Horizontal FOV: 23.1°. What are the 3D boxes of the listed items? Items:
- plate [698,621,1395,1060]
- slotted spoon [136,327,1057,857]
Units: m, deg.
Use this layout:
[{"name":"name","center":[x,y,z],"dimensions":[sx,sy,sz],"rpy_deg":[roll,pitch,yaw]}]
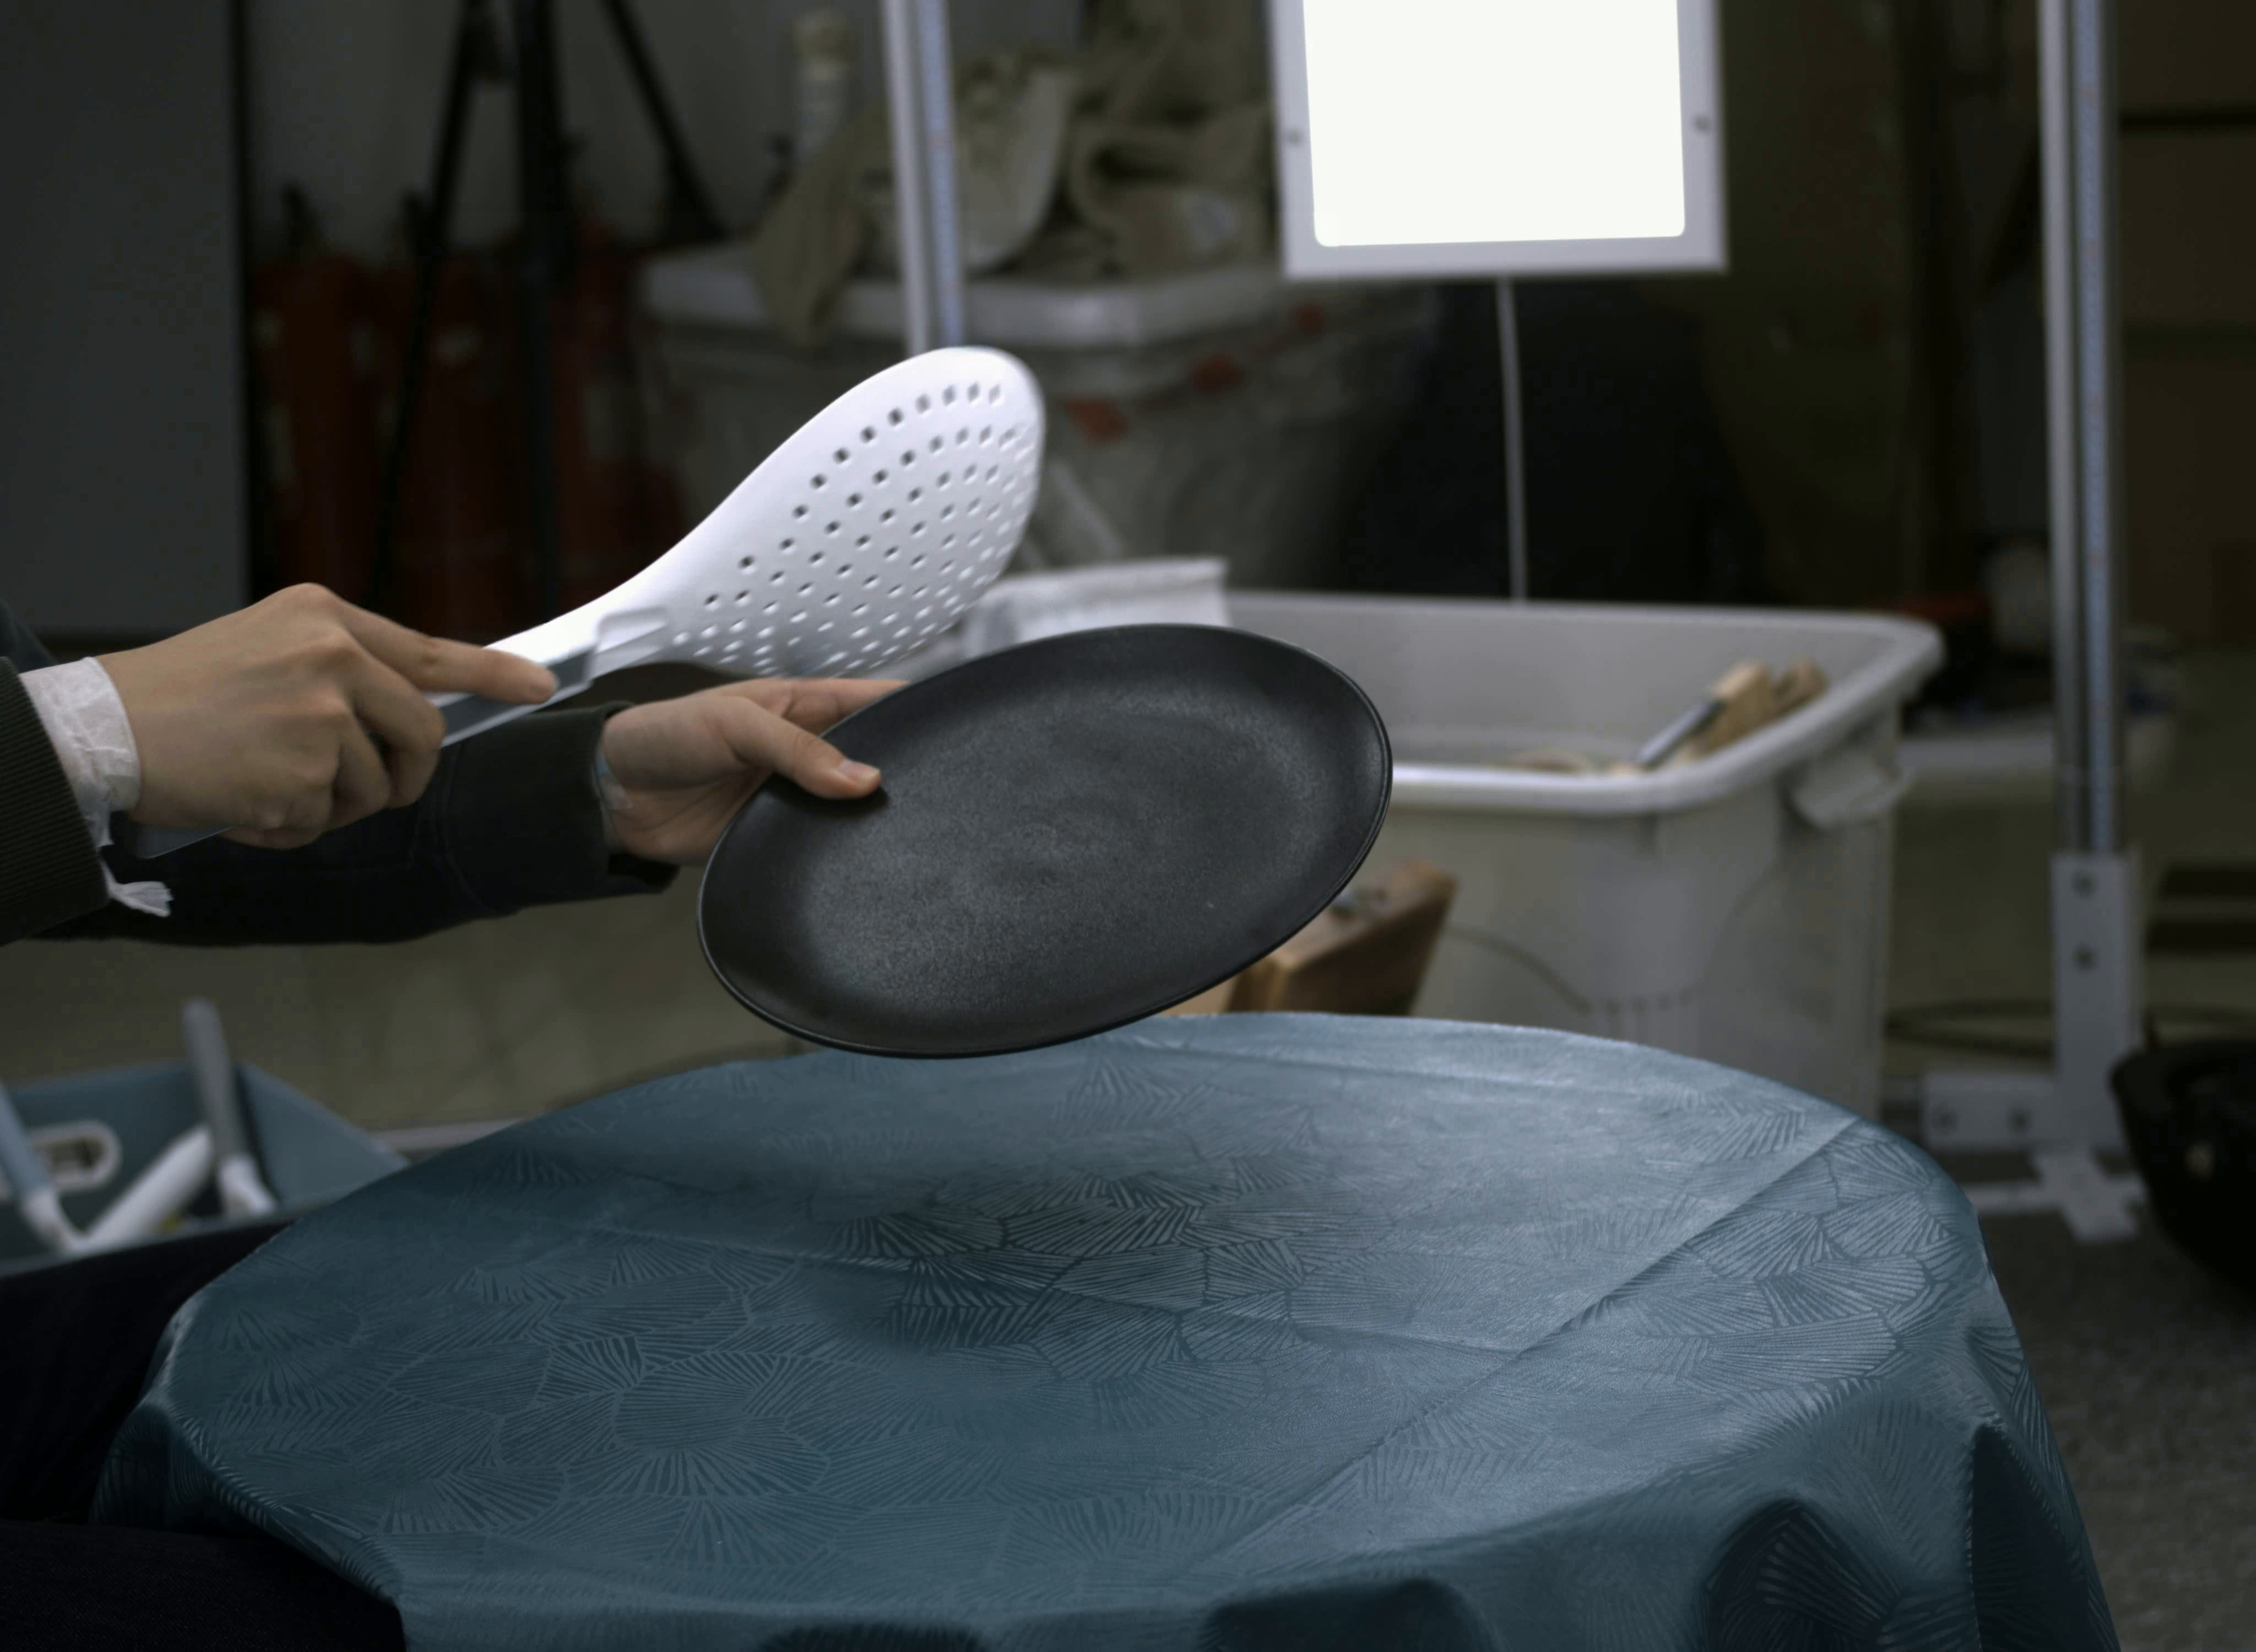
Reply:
[{"name":"plate","center":[-0.026,0.009,1.863],"dimensions":[0.245,0.023,0.244],"rpy_deg":[-14,34,8]},{"name":"slotted spoon","center":[-0.158,-0.064,1.736],"dimensions":[0.342,0.137,0.046],"rpy_deg":[-20,53,-26]}]
